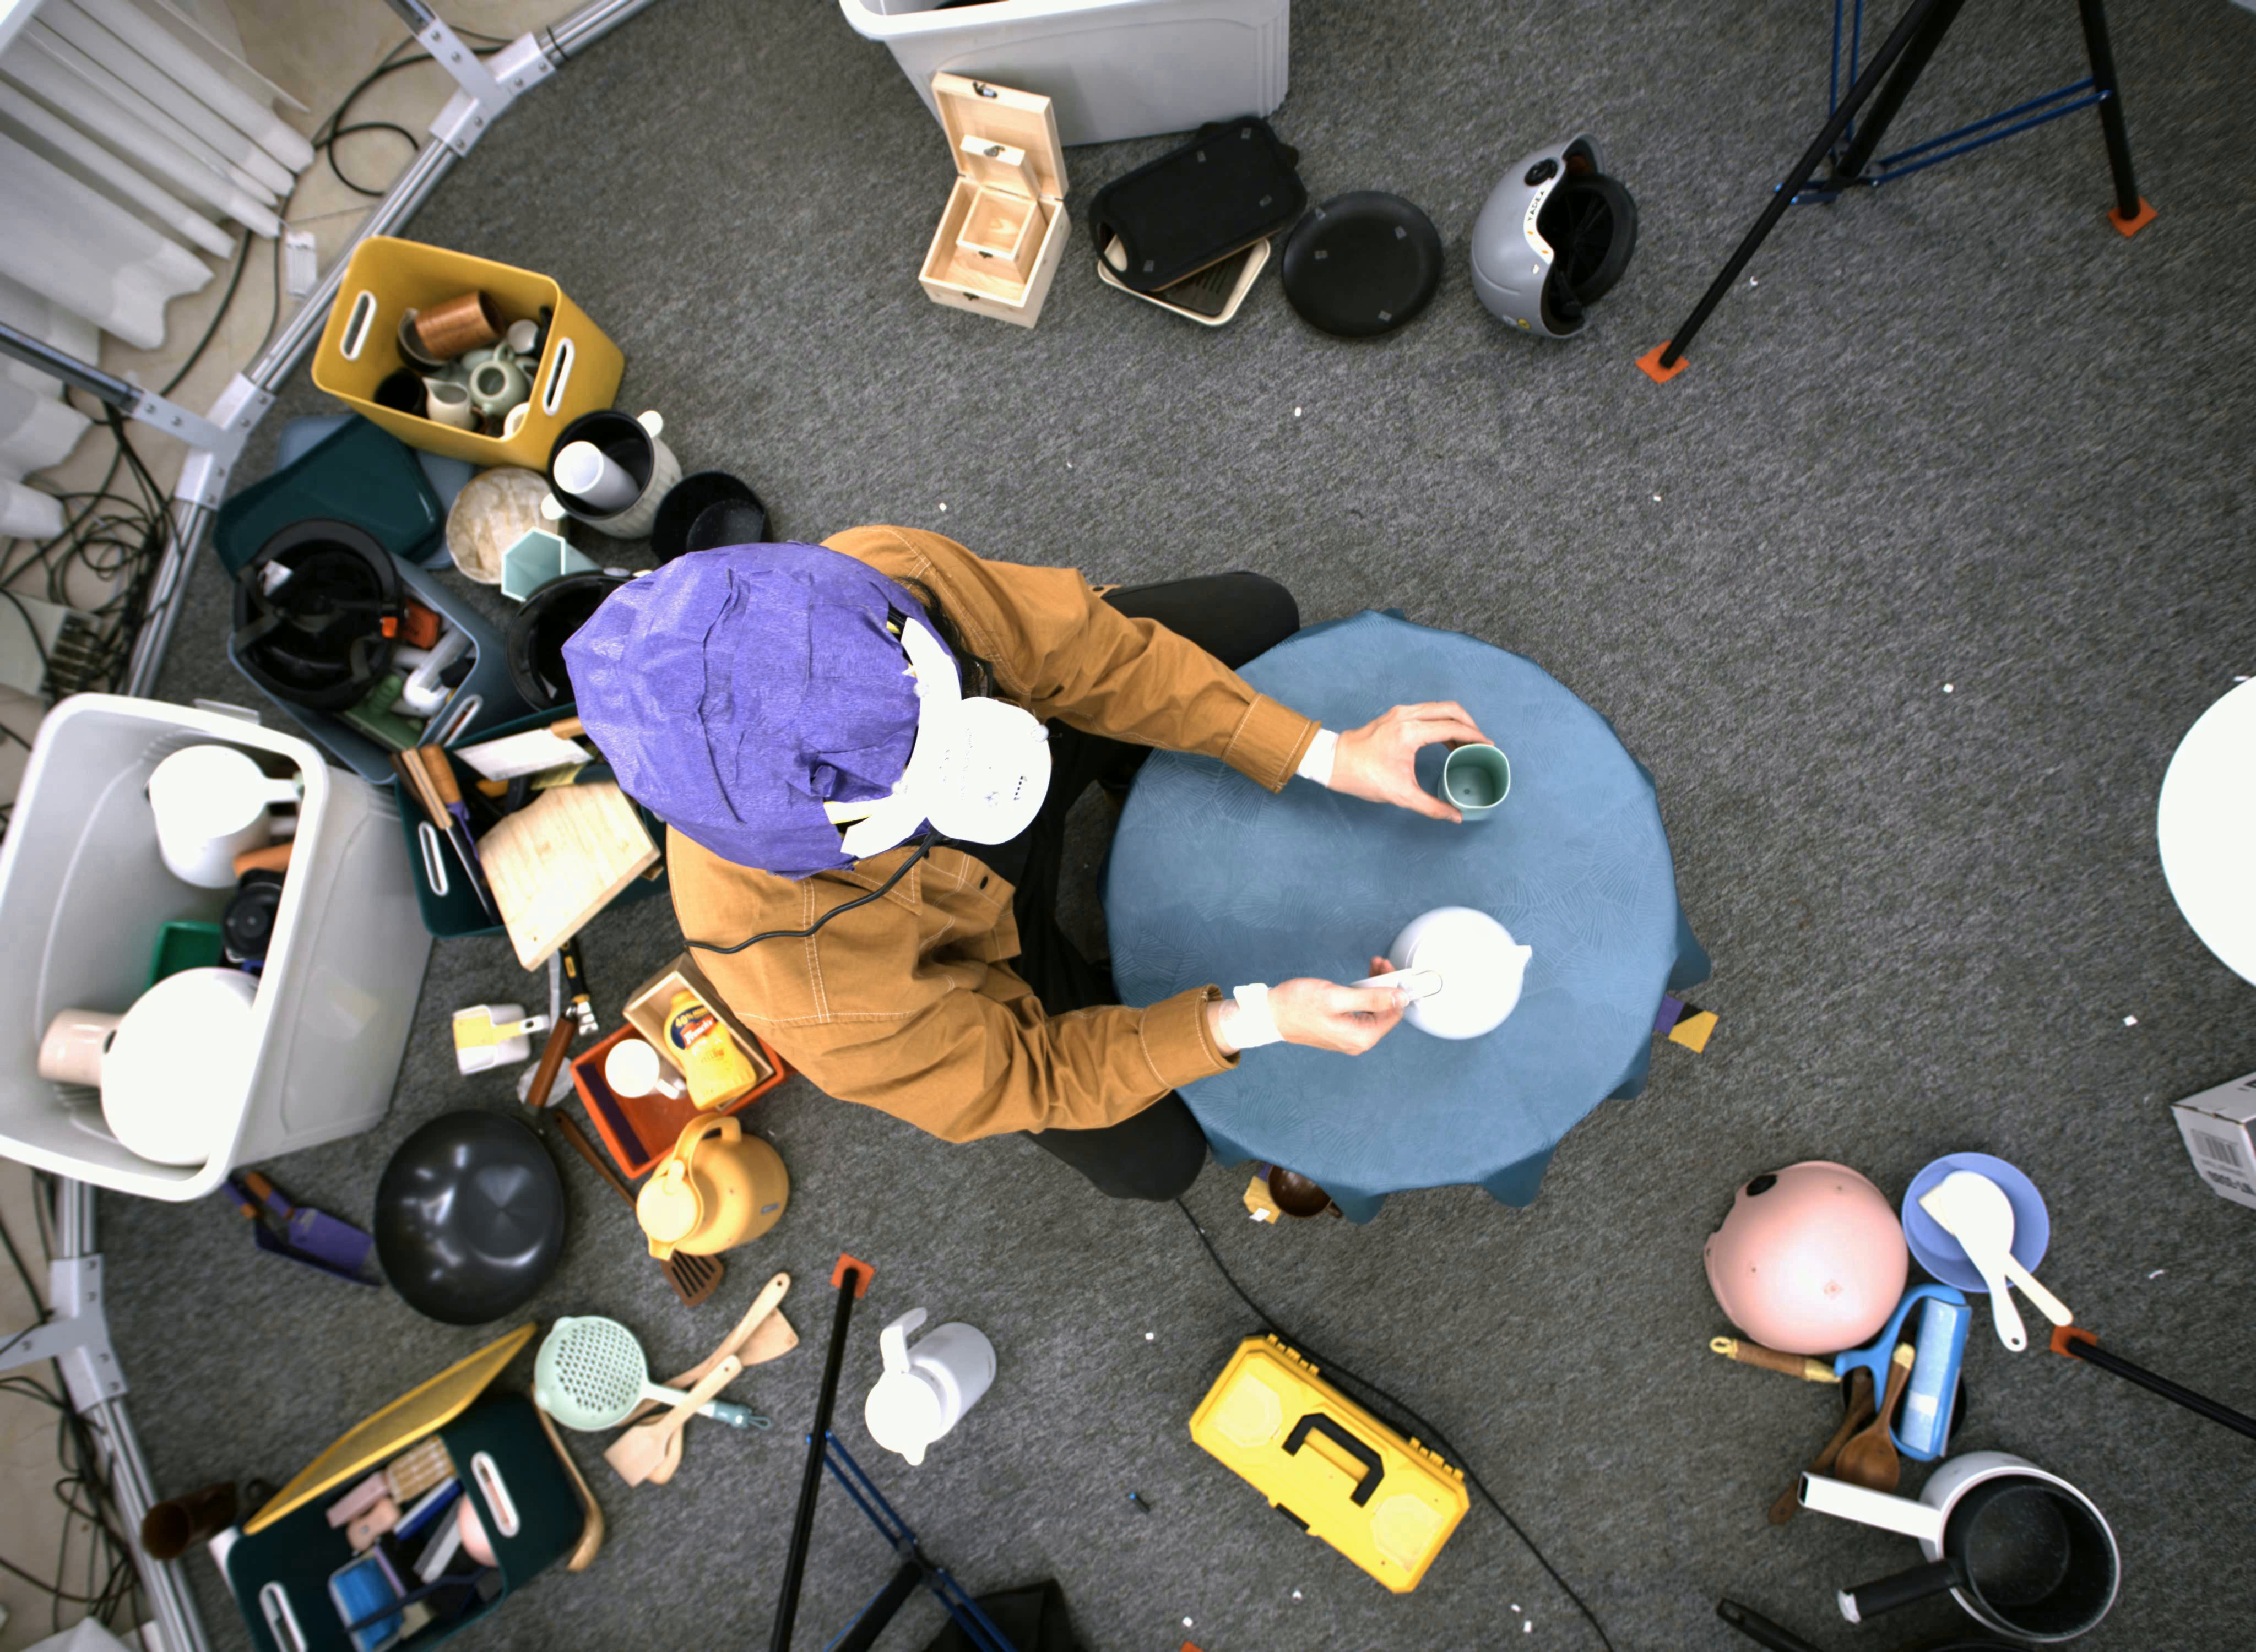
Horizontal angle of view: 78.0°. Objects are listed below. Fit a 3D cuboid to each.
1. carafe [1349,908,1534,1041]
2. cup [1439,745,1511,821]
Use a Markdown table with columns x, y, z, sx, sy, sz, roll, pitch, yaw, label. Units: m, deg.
| x | y | z | sx | sy | sz | roll | pitch | yaw | label |
| --- | --- | --- | --- | --- | --- | --- | --- | --- | --- |
| 0.297 | 0.146 | 1.327 | 0.168 | 0.249 | 0.131 | -15 | 83 | 9 | carafe |
| 0.347 | -0.044 | 1.389 | 0.067 | 0.132 | 0.066 | -1 | 85 | 10 | cup |
